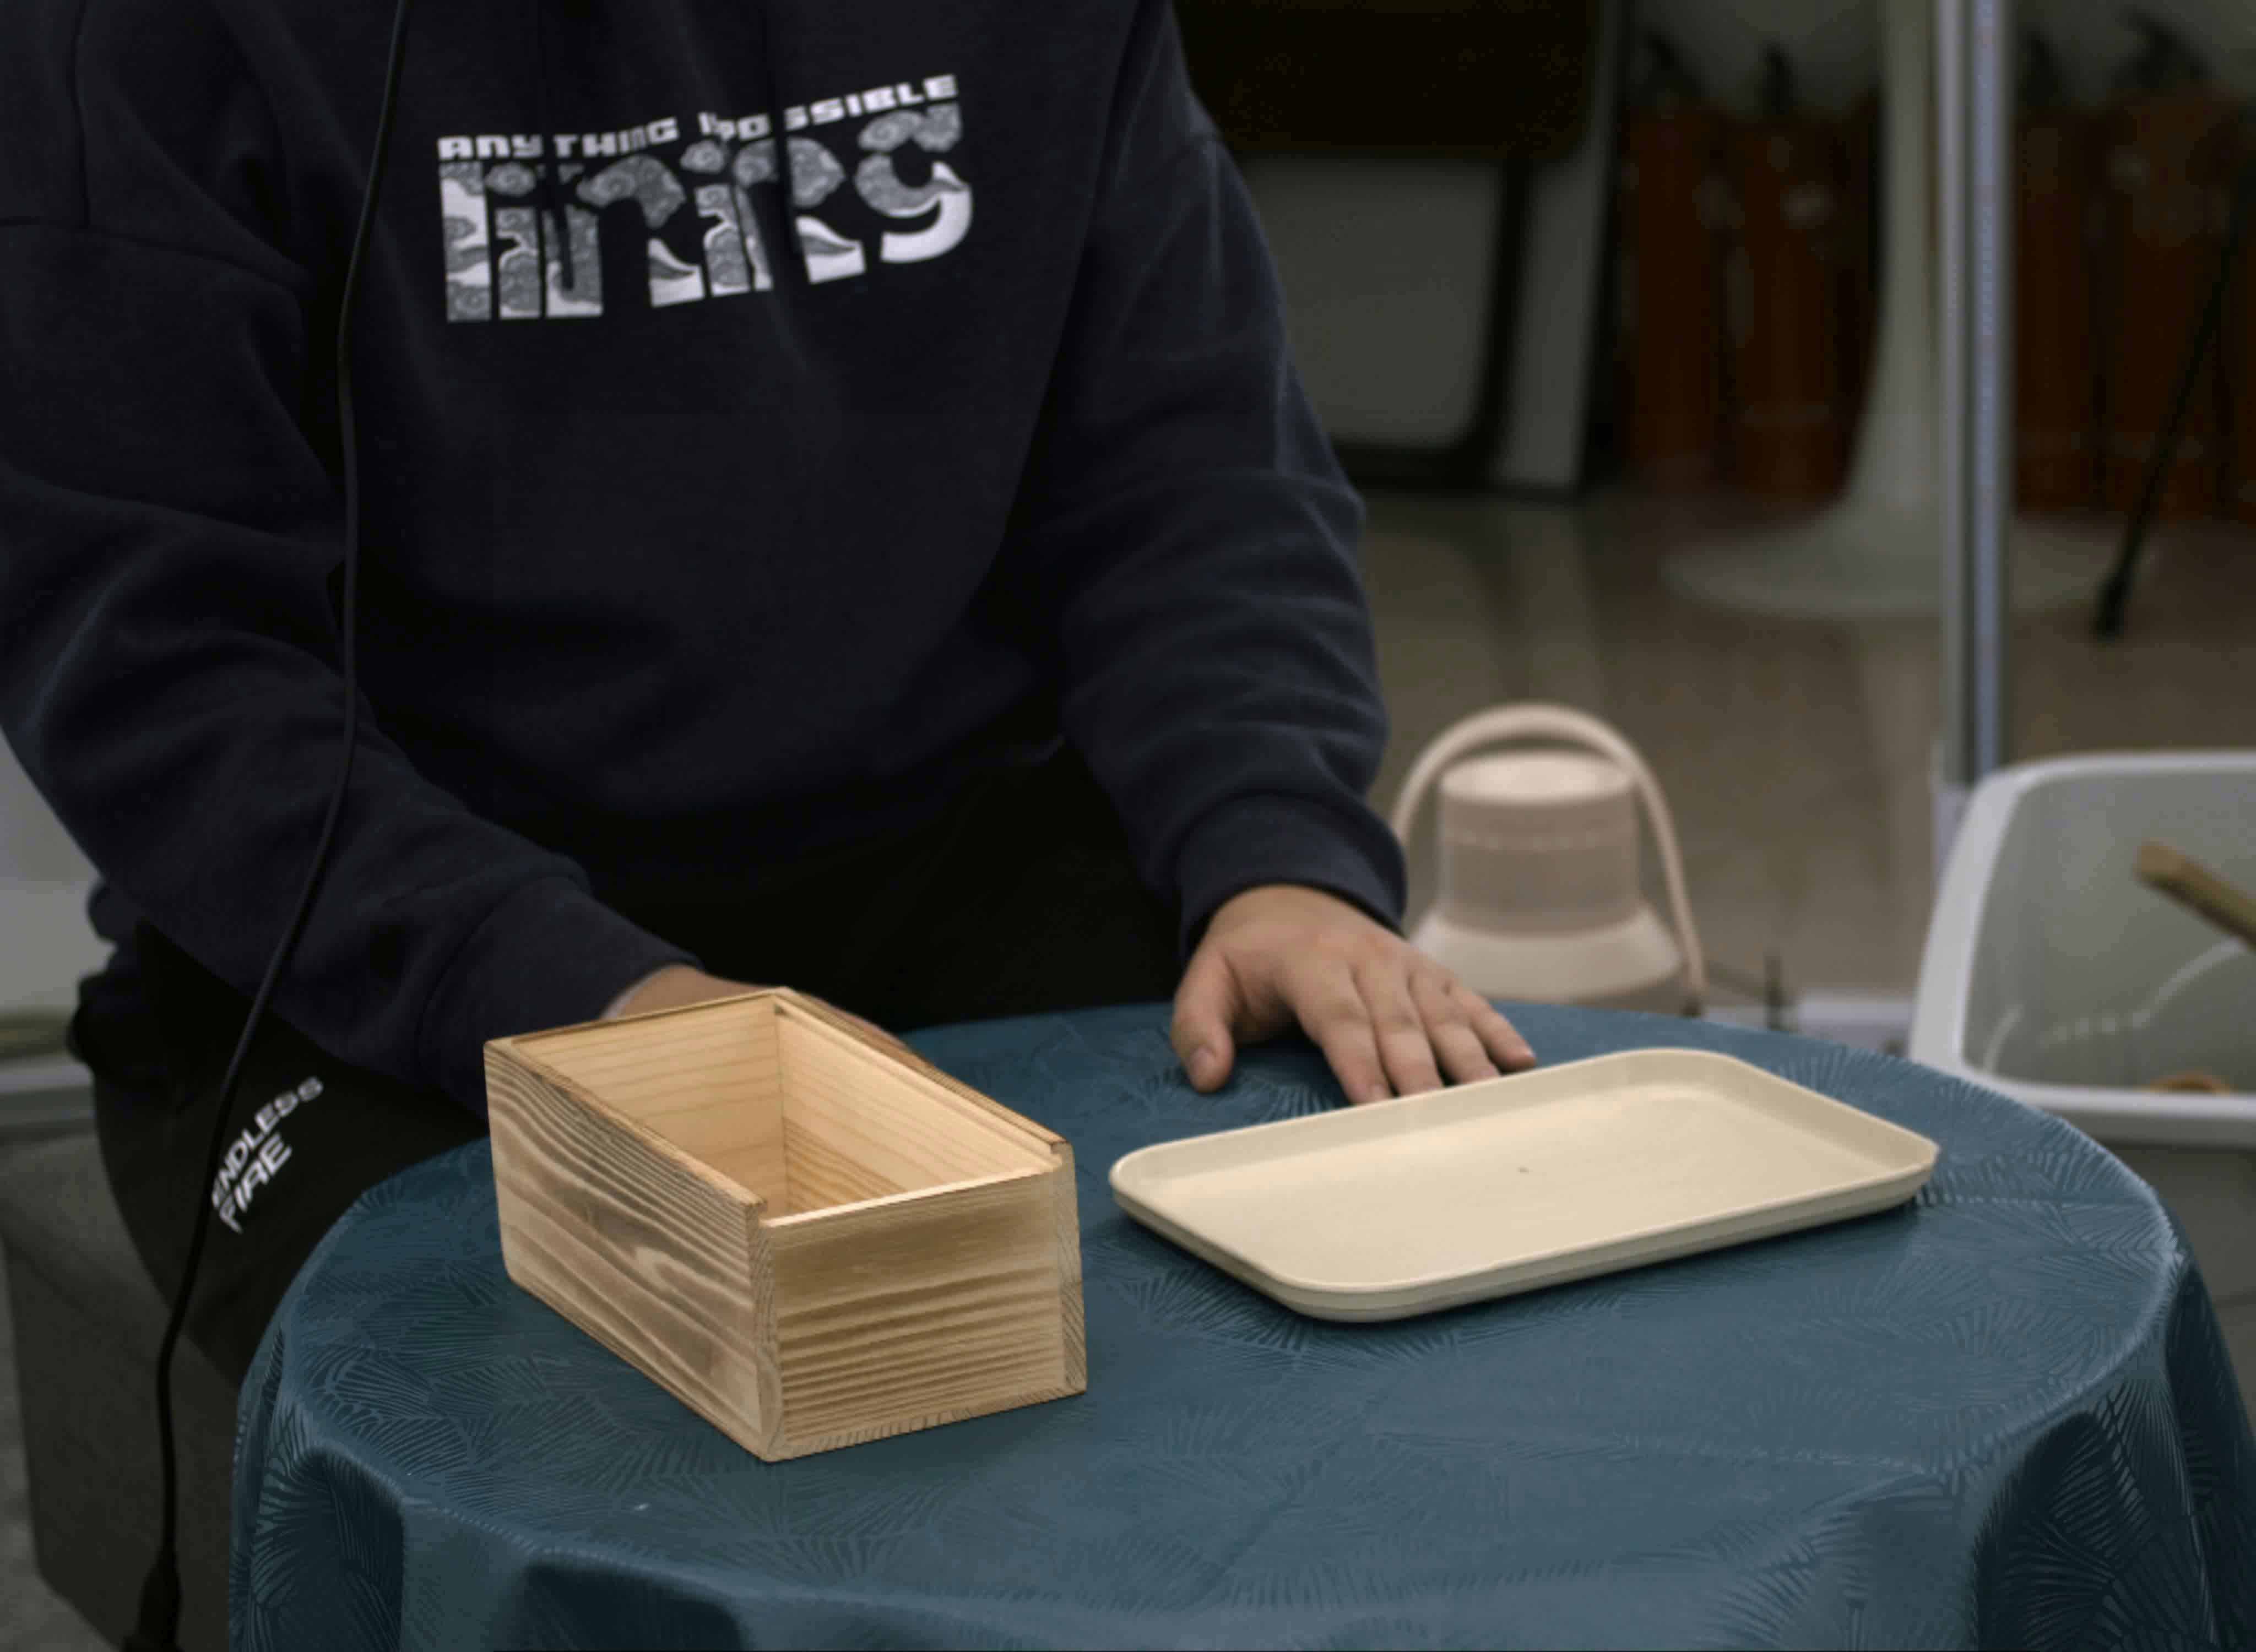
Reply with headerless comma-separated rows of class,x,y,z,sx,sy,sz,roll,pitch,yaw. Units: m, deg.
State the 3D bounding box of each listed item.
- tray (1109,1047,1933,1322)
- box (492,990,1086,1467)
tray,0.126,0.115,1.730,0.234,0.017,0.173,-11,15,-24
box,-0.106,0.118,1.649,0.105,0.081,0.213,-10,15,-25
